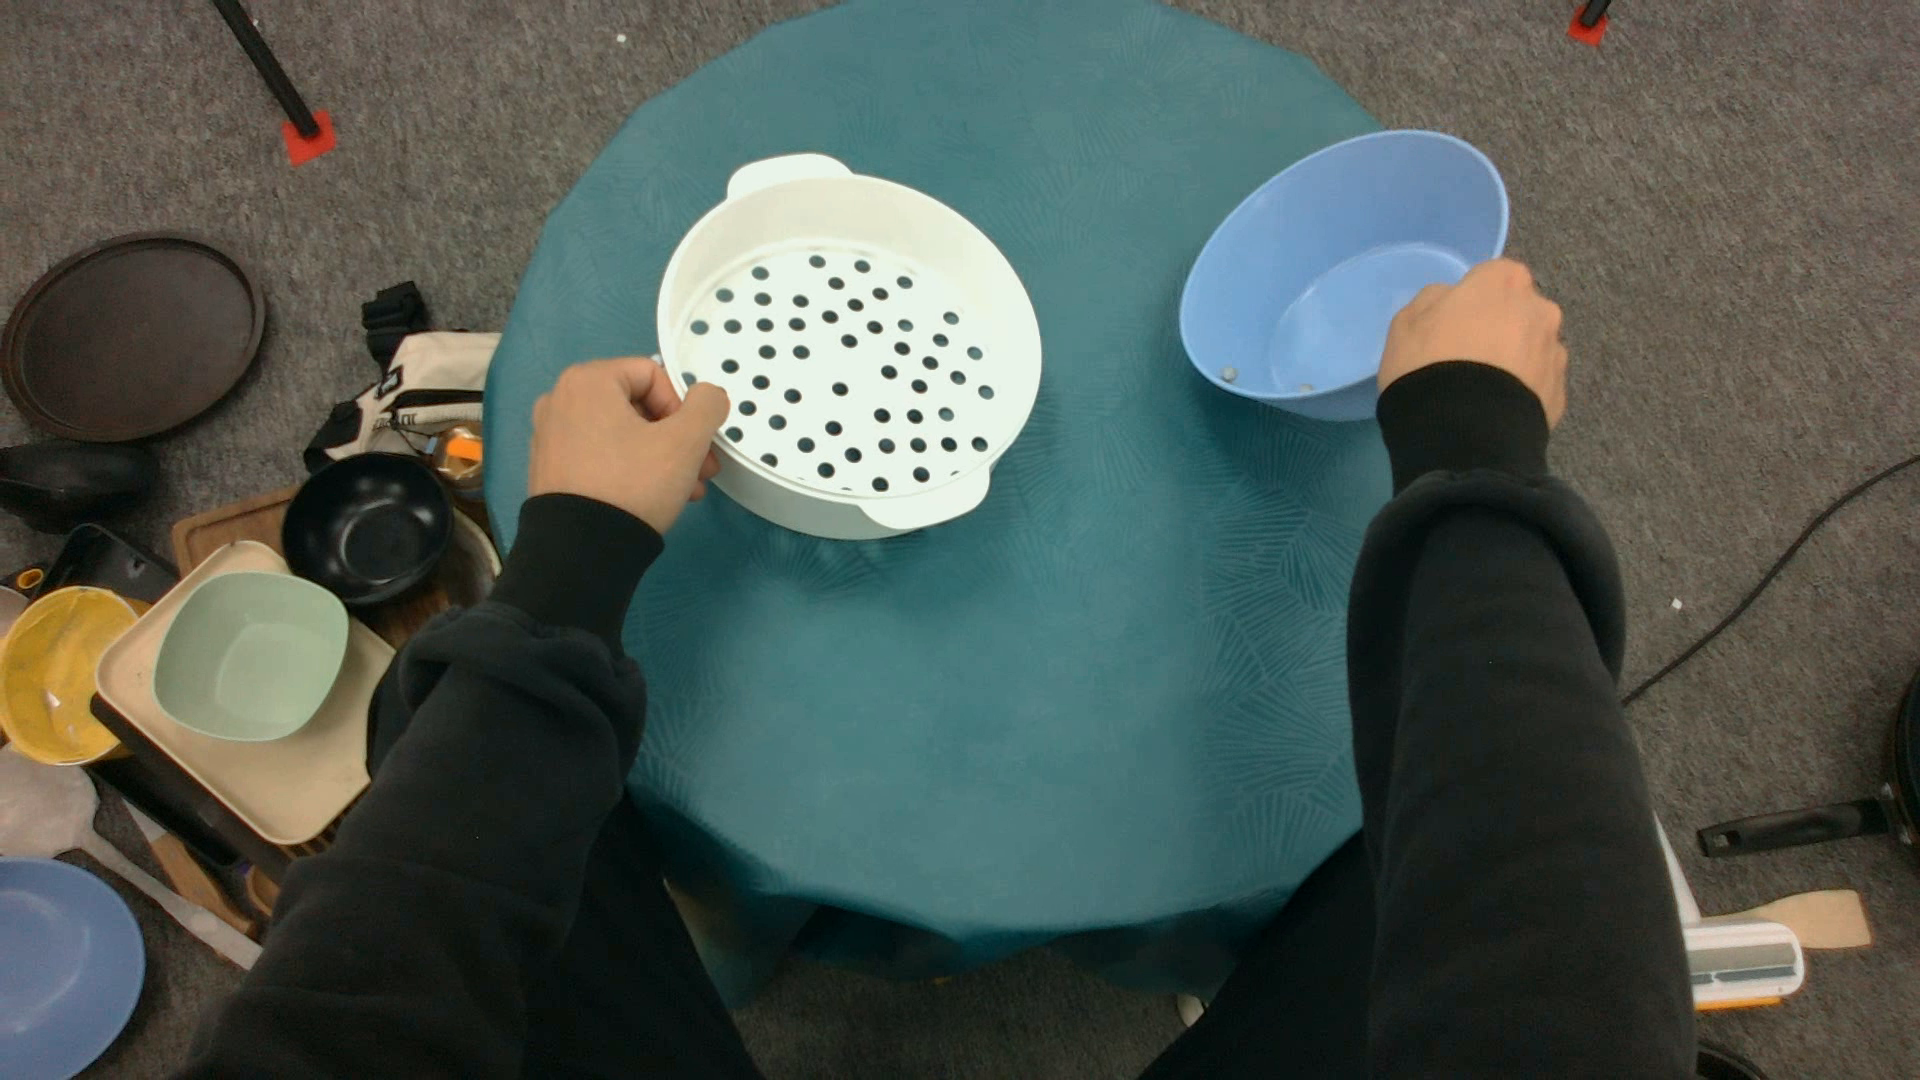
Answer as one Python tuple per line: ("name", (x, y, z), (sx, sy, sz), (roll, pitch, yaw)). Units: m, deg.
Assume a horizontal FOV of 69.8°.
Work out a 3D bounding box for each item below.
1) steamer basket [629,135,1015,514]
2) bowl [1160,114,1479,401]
("steamer basket", (-0.075, -0.110, 0.740), (0.202, 0.069, 0.231), (-18, 69, -22))
("bowl", (0.202, -0.142, 0.750), (0.175, 0.070, 0.177), (-21, 49, 26))
